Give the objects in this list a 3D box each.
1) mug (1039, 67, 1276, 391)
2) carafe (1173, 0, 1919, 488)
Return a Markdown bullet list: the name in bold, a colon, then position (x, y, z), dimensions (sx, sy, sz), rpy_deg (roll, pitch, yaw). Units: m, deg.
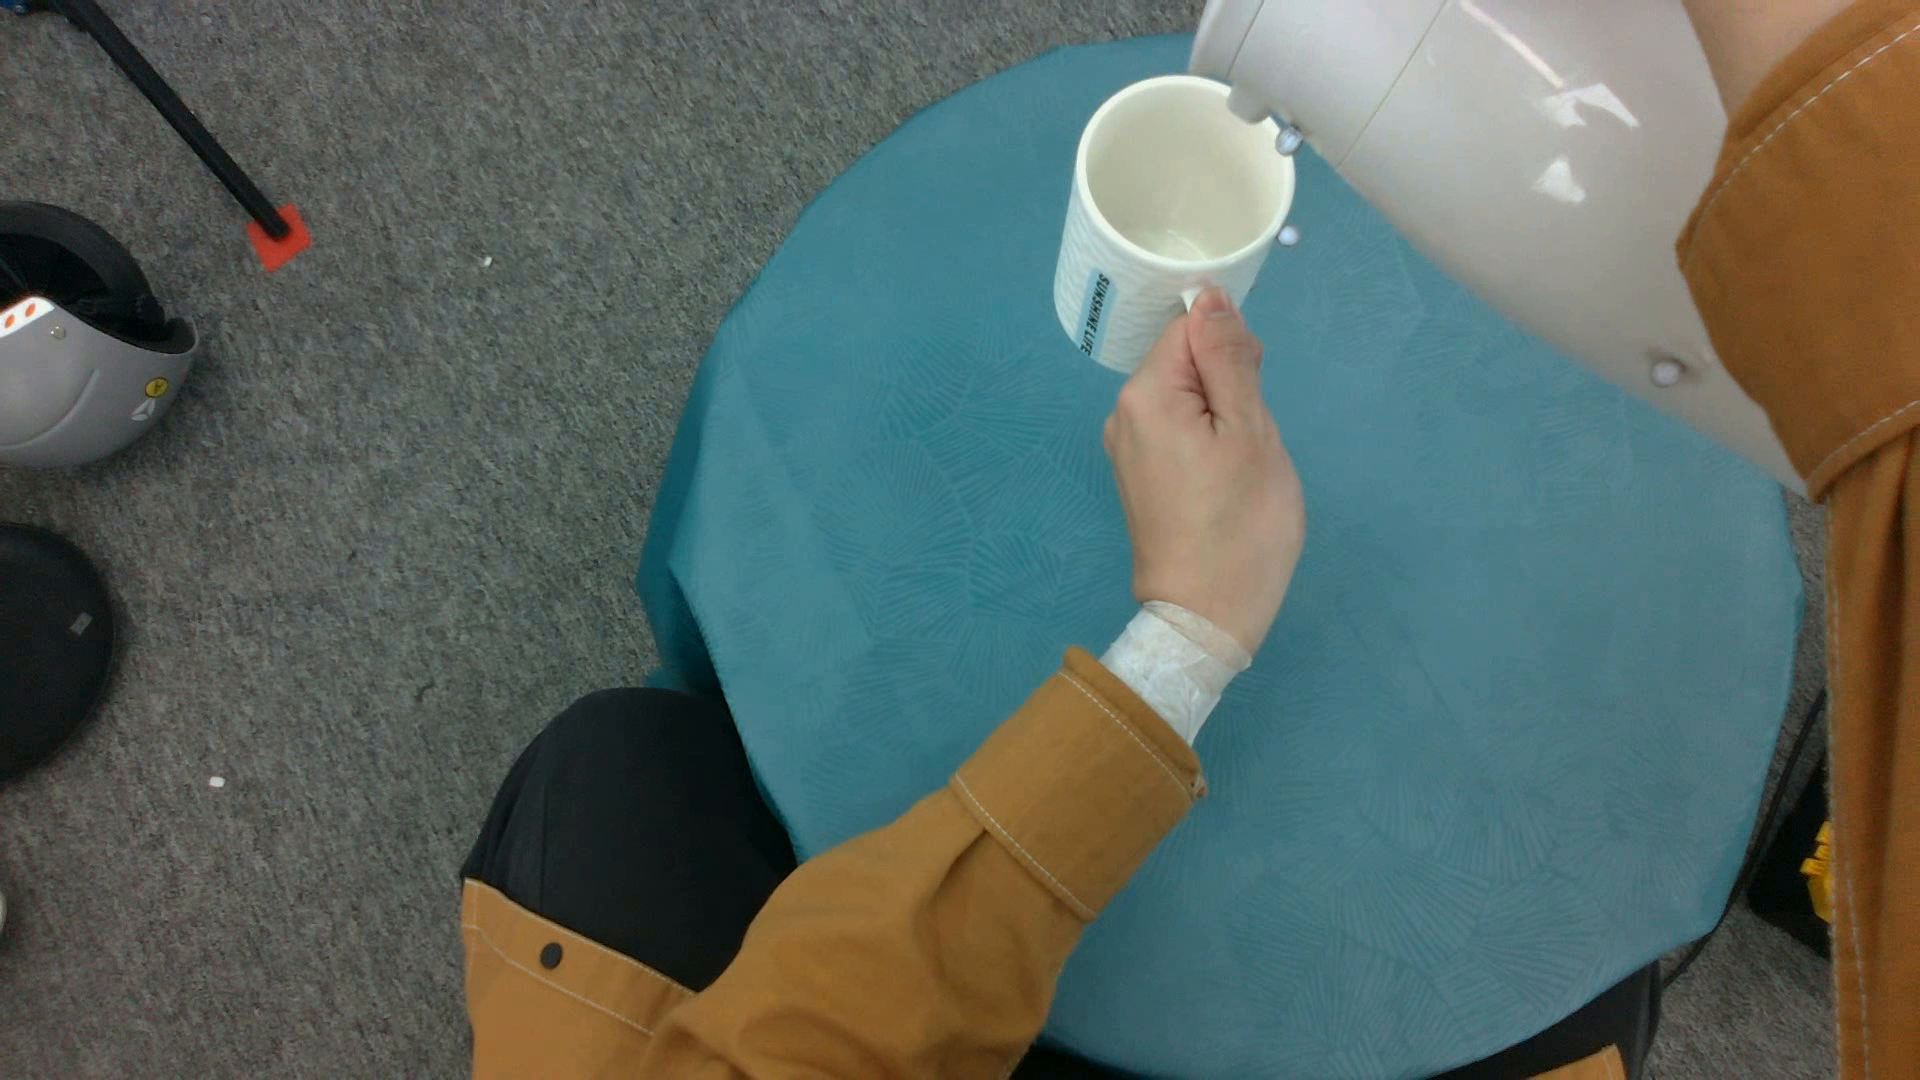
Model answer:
- **mug**: position (0.083, -0.118, 0.579), dimensions (0.085, 0.101, 0.118), rpy_deg (-11, 71, -7)
- **carafe**: position (0.195, -0.141, 0.409), dimensions (0.248, 0.167, 0.133), rpy_deg (31, 64, 3)
